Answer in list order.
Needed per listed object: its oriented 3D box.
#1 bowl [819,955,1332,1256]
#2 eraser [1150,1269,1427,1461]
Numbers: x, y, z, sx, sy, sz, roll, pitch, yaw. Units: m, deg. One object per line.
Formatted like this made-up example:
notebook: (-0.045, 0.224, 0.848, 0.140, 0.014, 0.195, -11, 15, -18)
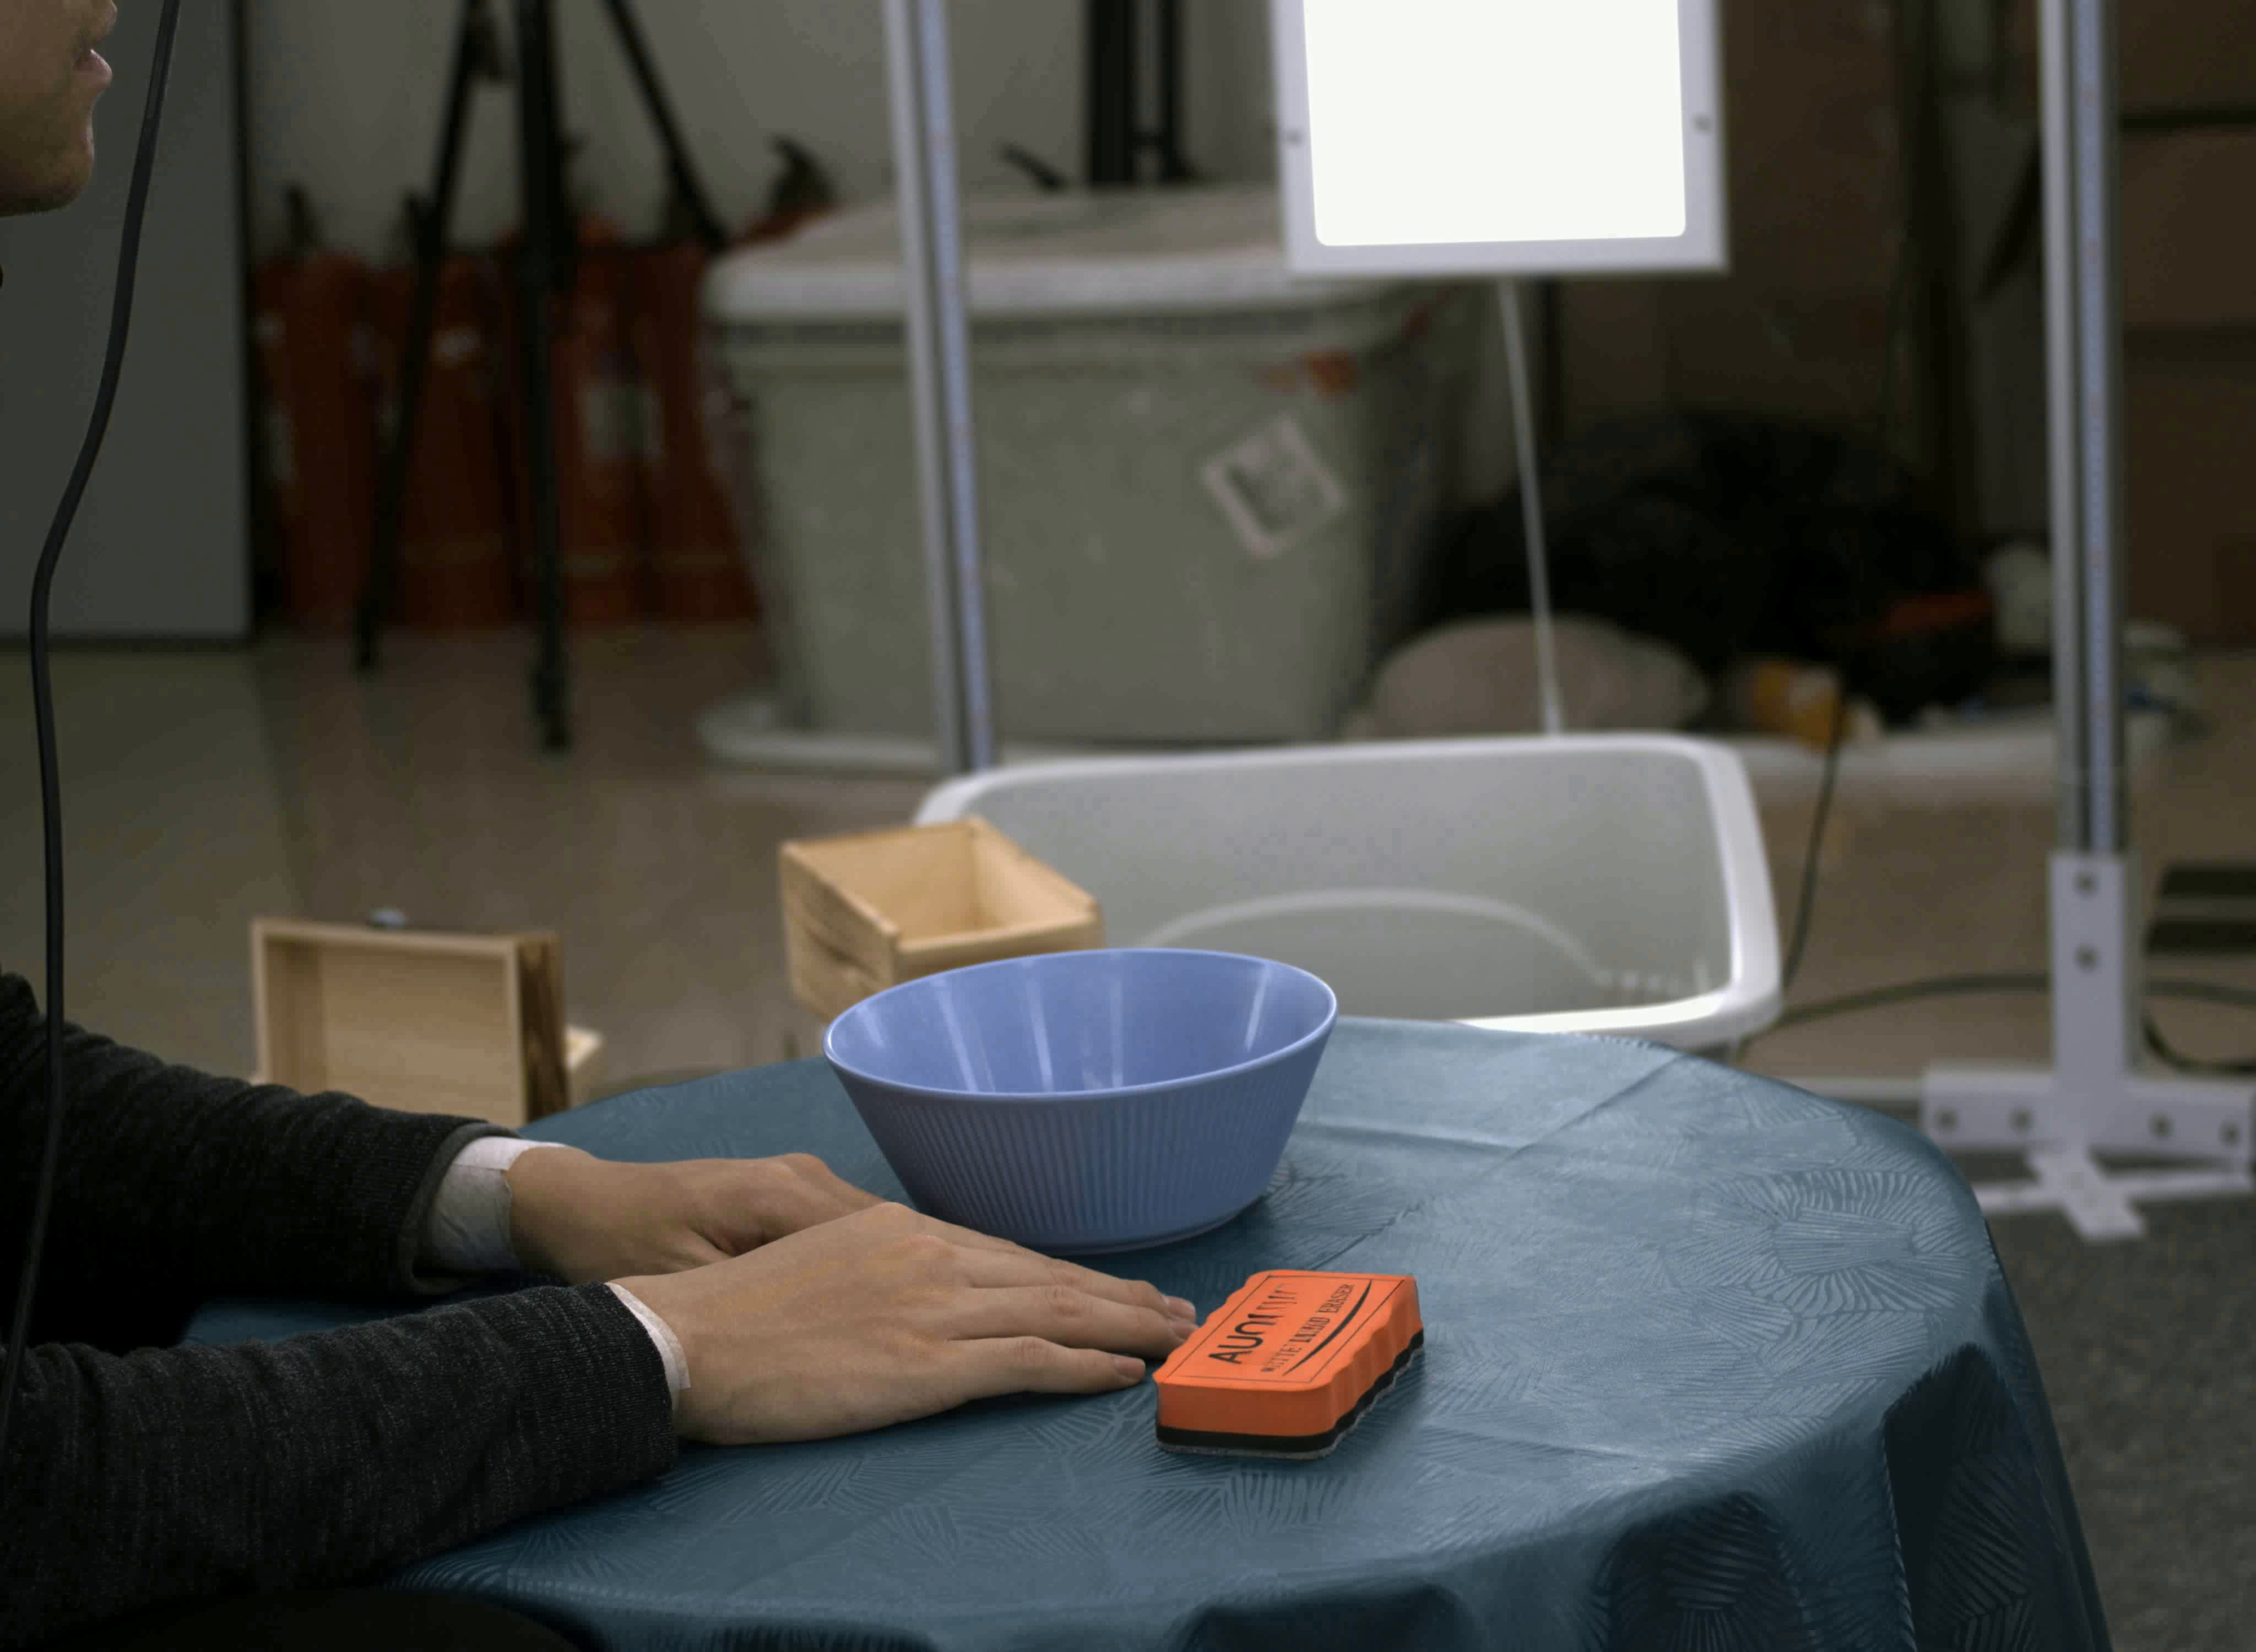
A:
bowl: (-0.016, 0.097, 1.877, 0.175, 0.070, 0.176, -5, 14, 0)
eraser: (0.050, 0.163, 1.680, 0.060, 0.023, 0.106, 2, 16, 22)
